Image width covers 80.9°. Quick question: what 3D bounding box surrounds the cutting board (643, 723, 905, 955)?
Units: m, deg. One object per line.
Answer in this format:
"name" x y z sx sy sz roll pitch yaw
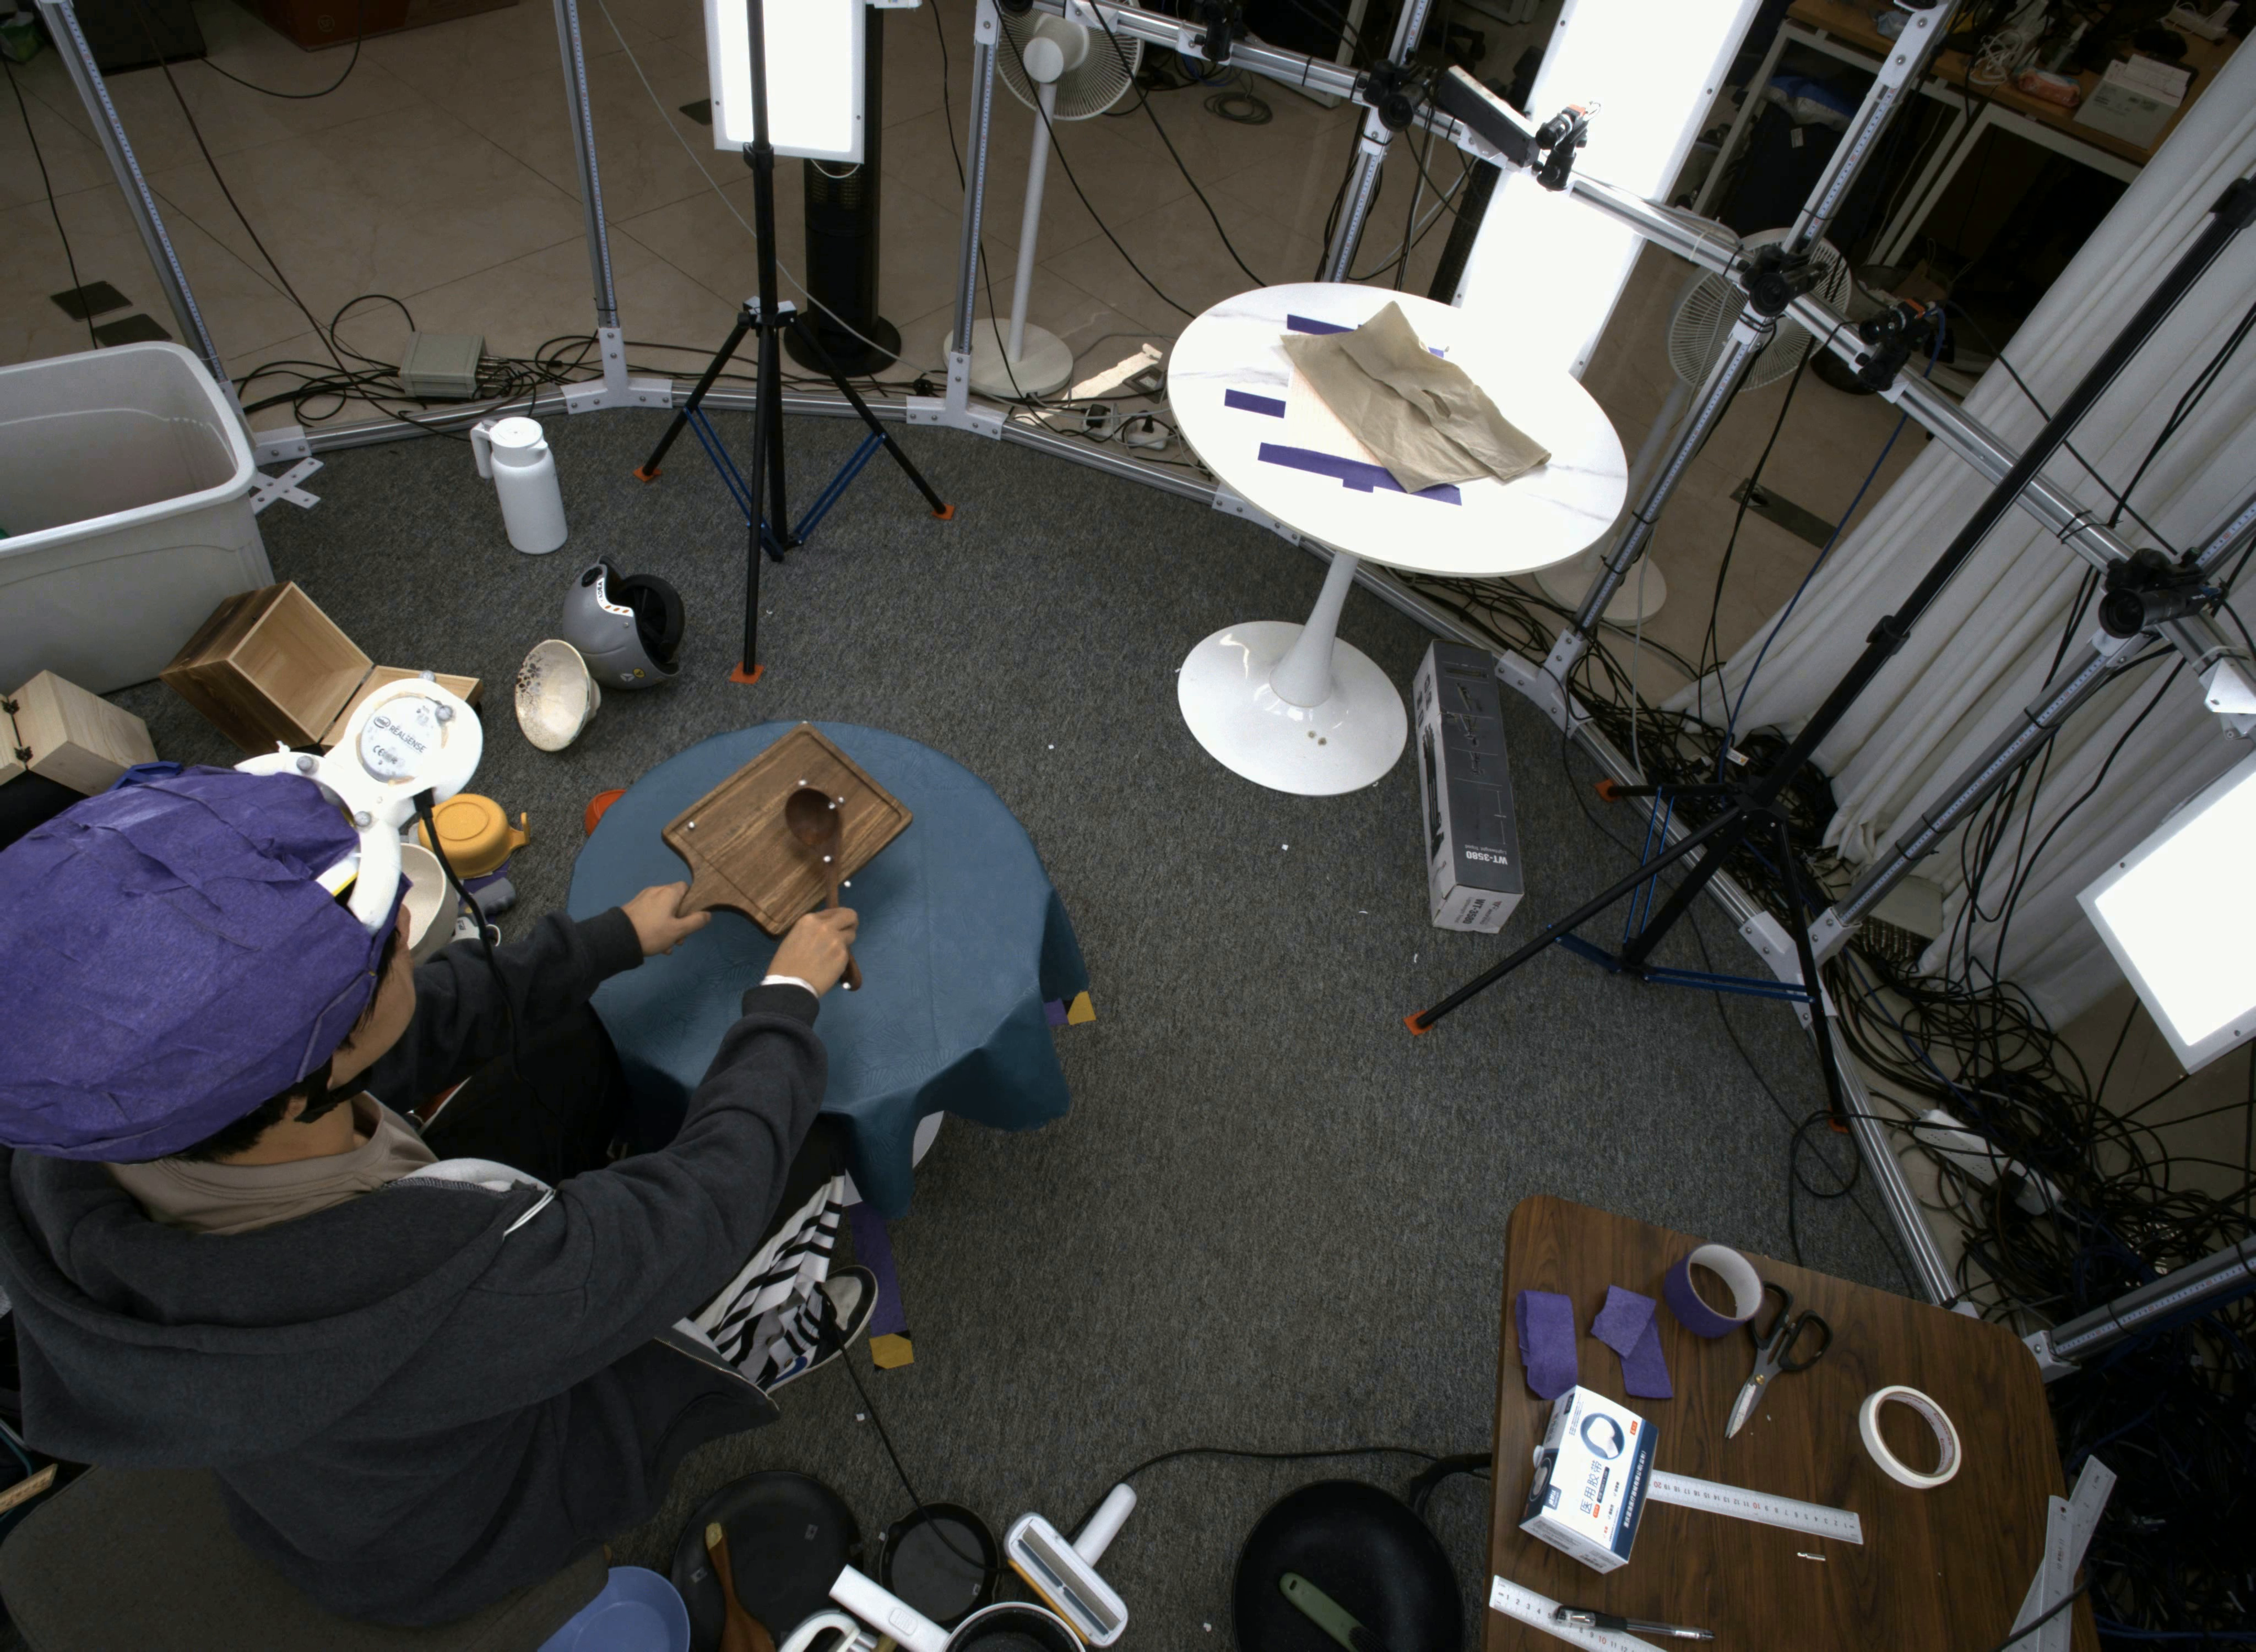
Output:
"cutting board" -0.453 0.031 1.566 0.200 0.023 0.351 40 53 3

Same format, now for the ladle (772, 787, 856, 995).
"ladle" -0.363 0.071 1.503 0.067 0.075 0.255 22 44 -51
